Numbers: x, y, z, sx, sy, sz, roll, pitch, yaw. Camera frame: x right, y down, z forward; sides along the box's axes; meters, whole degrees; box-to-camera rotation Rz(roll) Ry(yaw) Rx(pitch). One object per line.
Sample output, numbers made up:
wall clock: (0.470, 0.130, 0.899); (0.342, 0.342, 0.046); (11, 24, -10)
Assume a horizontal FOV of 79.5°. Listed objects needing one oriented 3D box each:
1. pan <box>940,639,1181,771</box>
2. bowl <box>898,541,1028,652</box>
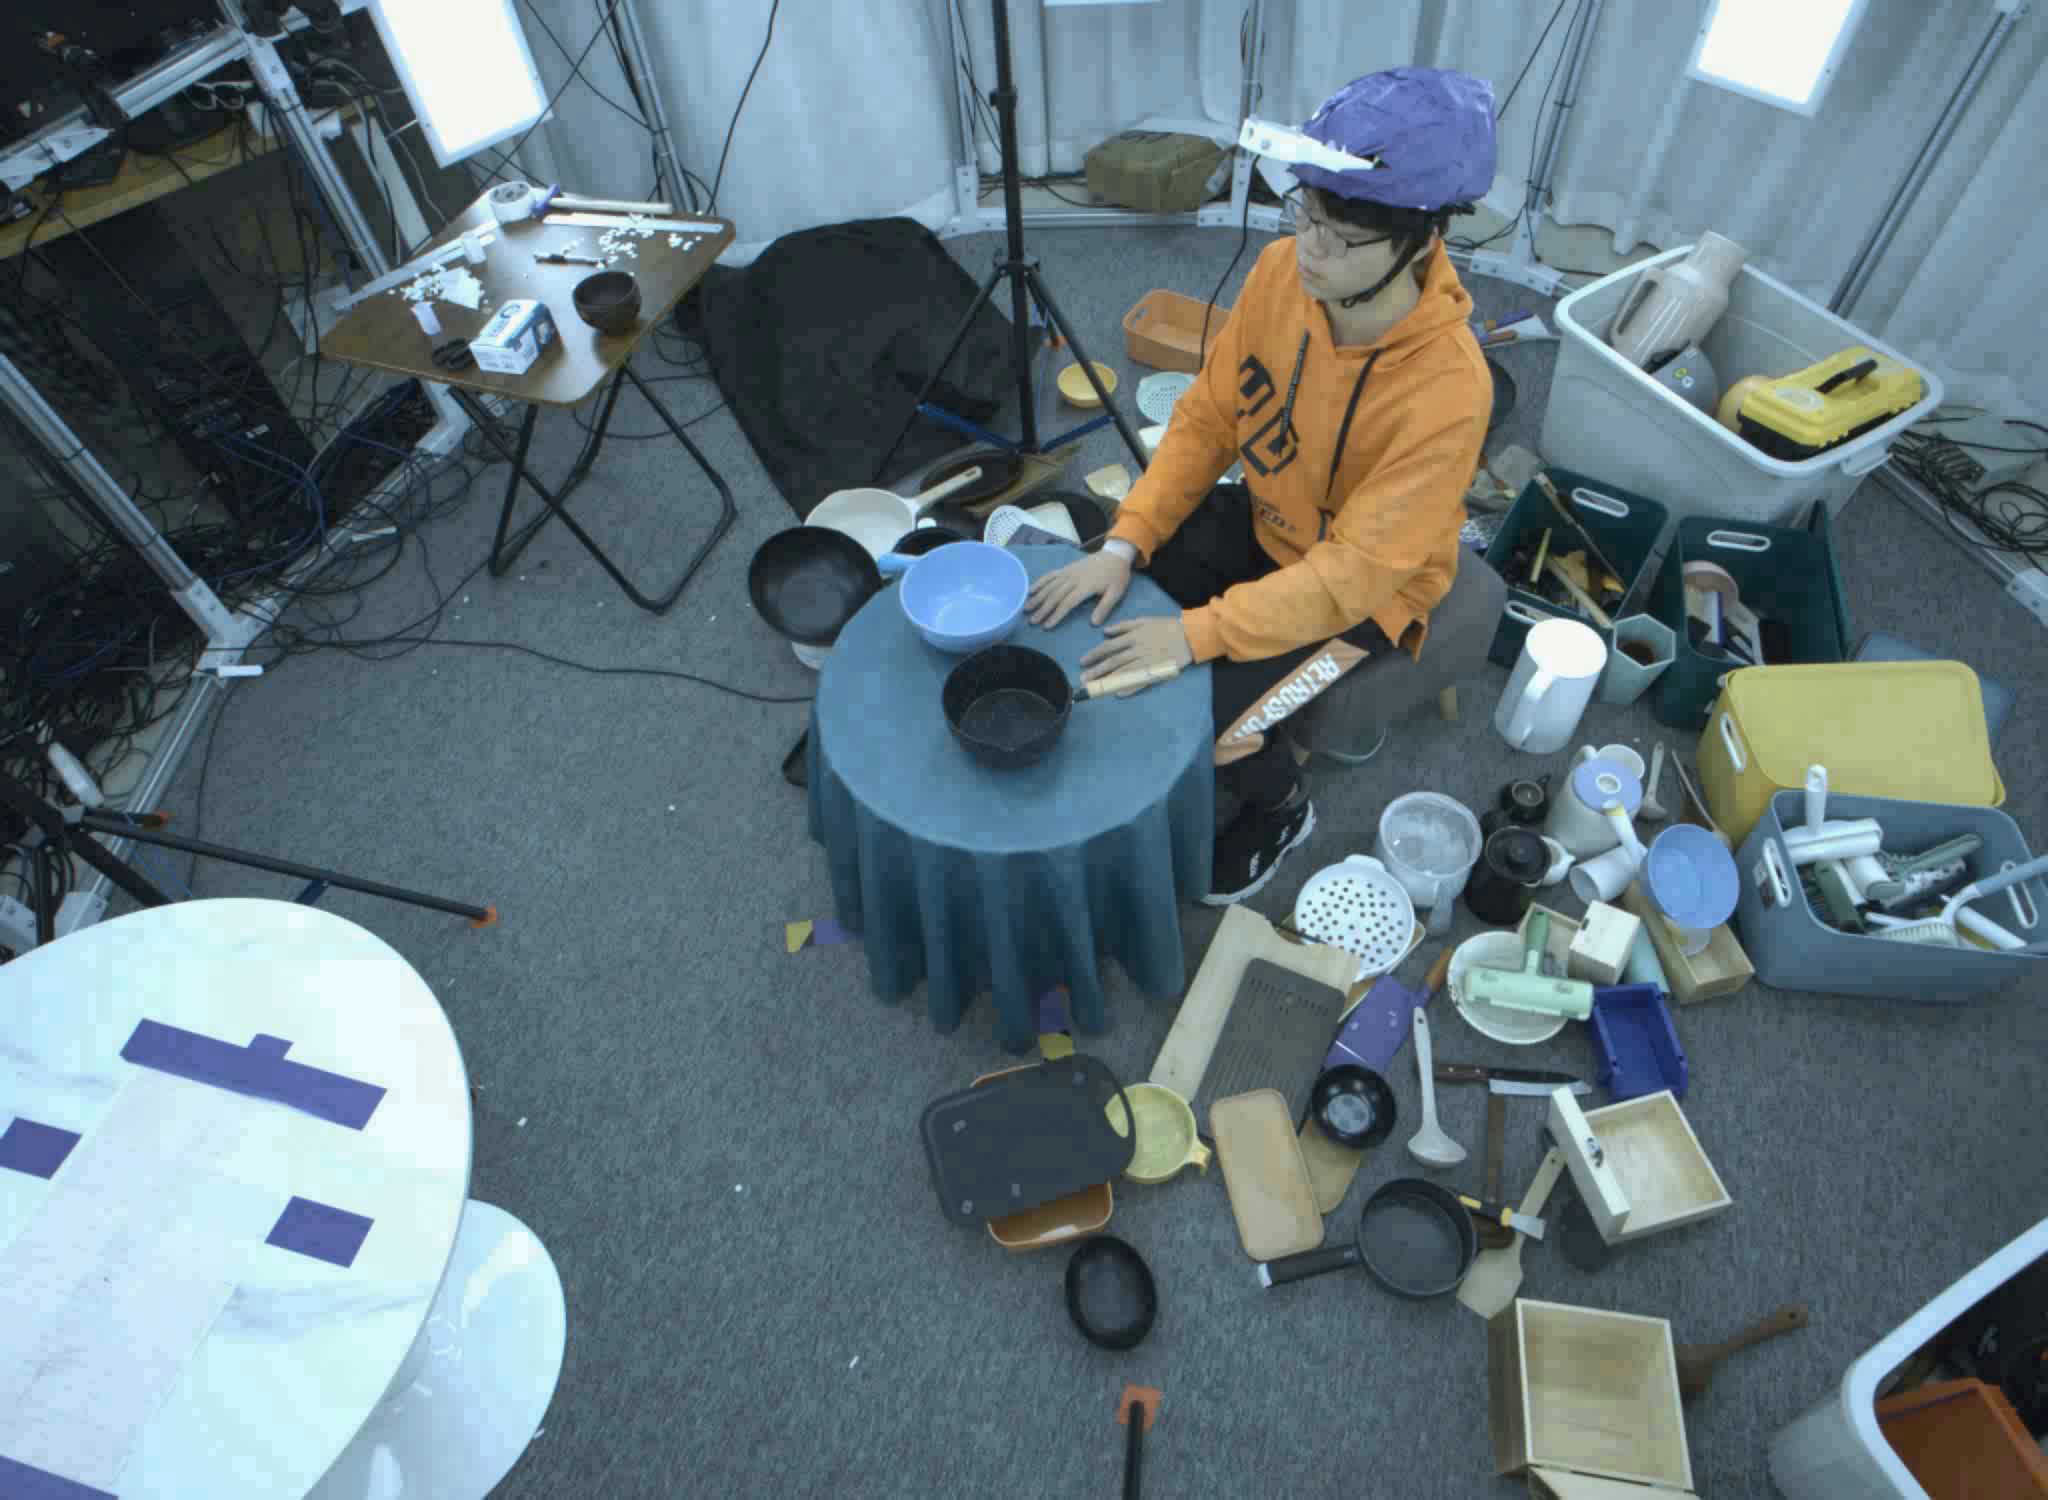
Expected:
pan: (0.054, -0.072, 1.770); (0.343, 0.109, 0.204); (-8, 53, -2)
bowl: (-0.089, -0.221, 1.887); (0.196, 0.096, 0.194); (-1, 54, 3)
